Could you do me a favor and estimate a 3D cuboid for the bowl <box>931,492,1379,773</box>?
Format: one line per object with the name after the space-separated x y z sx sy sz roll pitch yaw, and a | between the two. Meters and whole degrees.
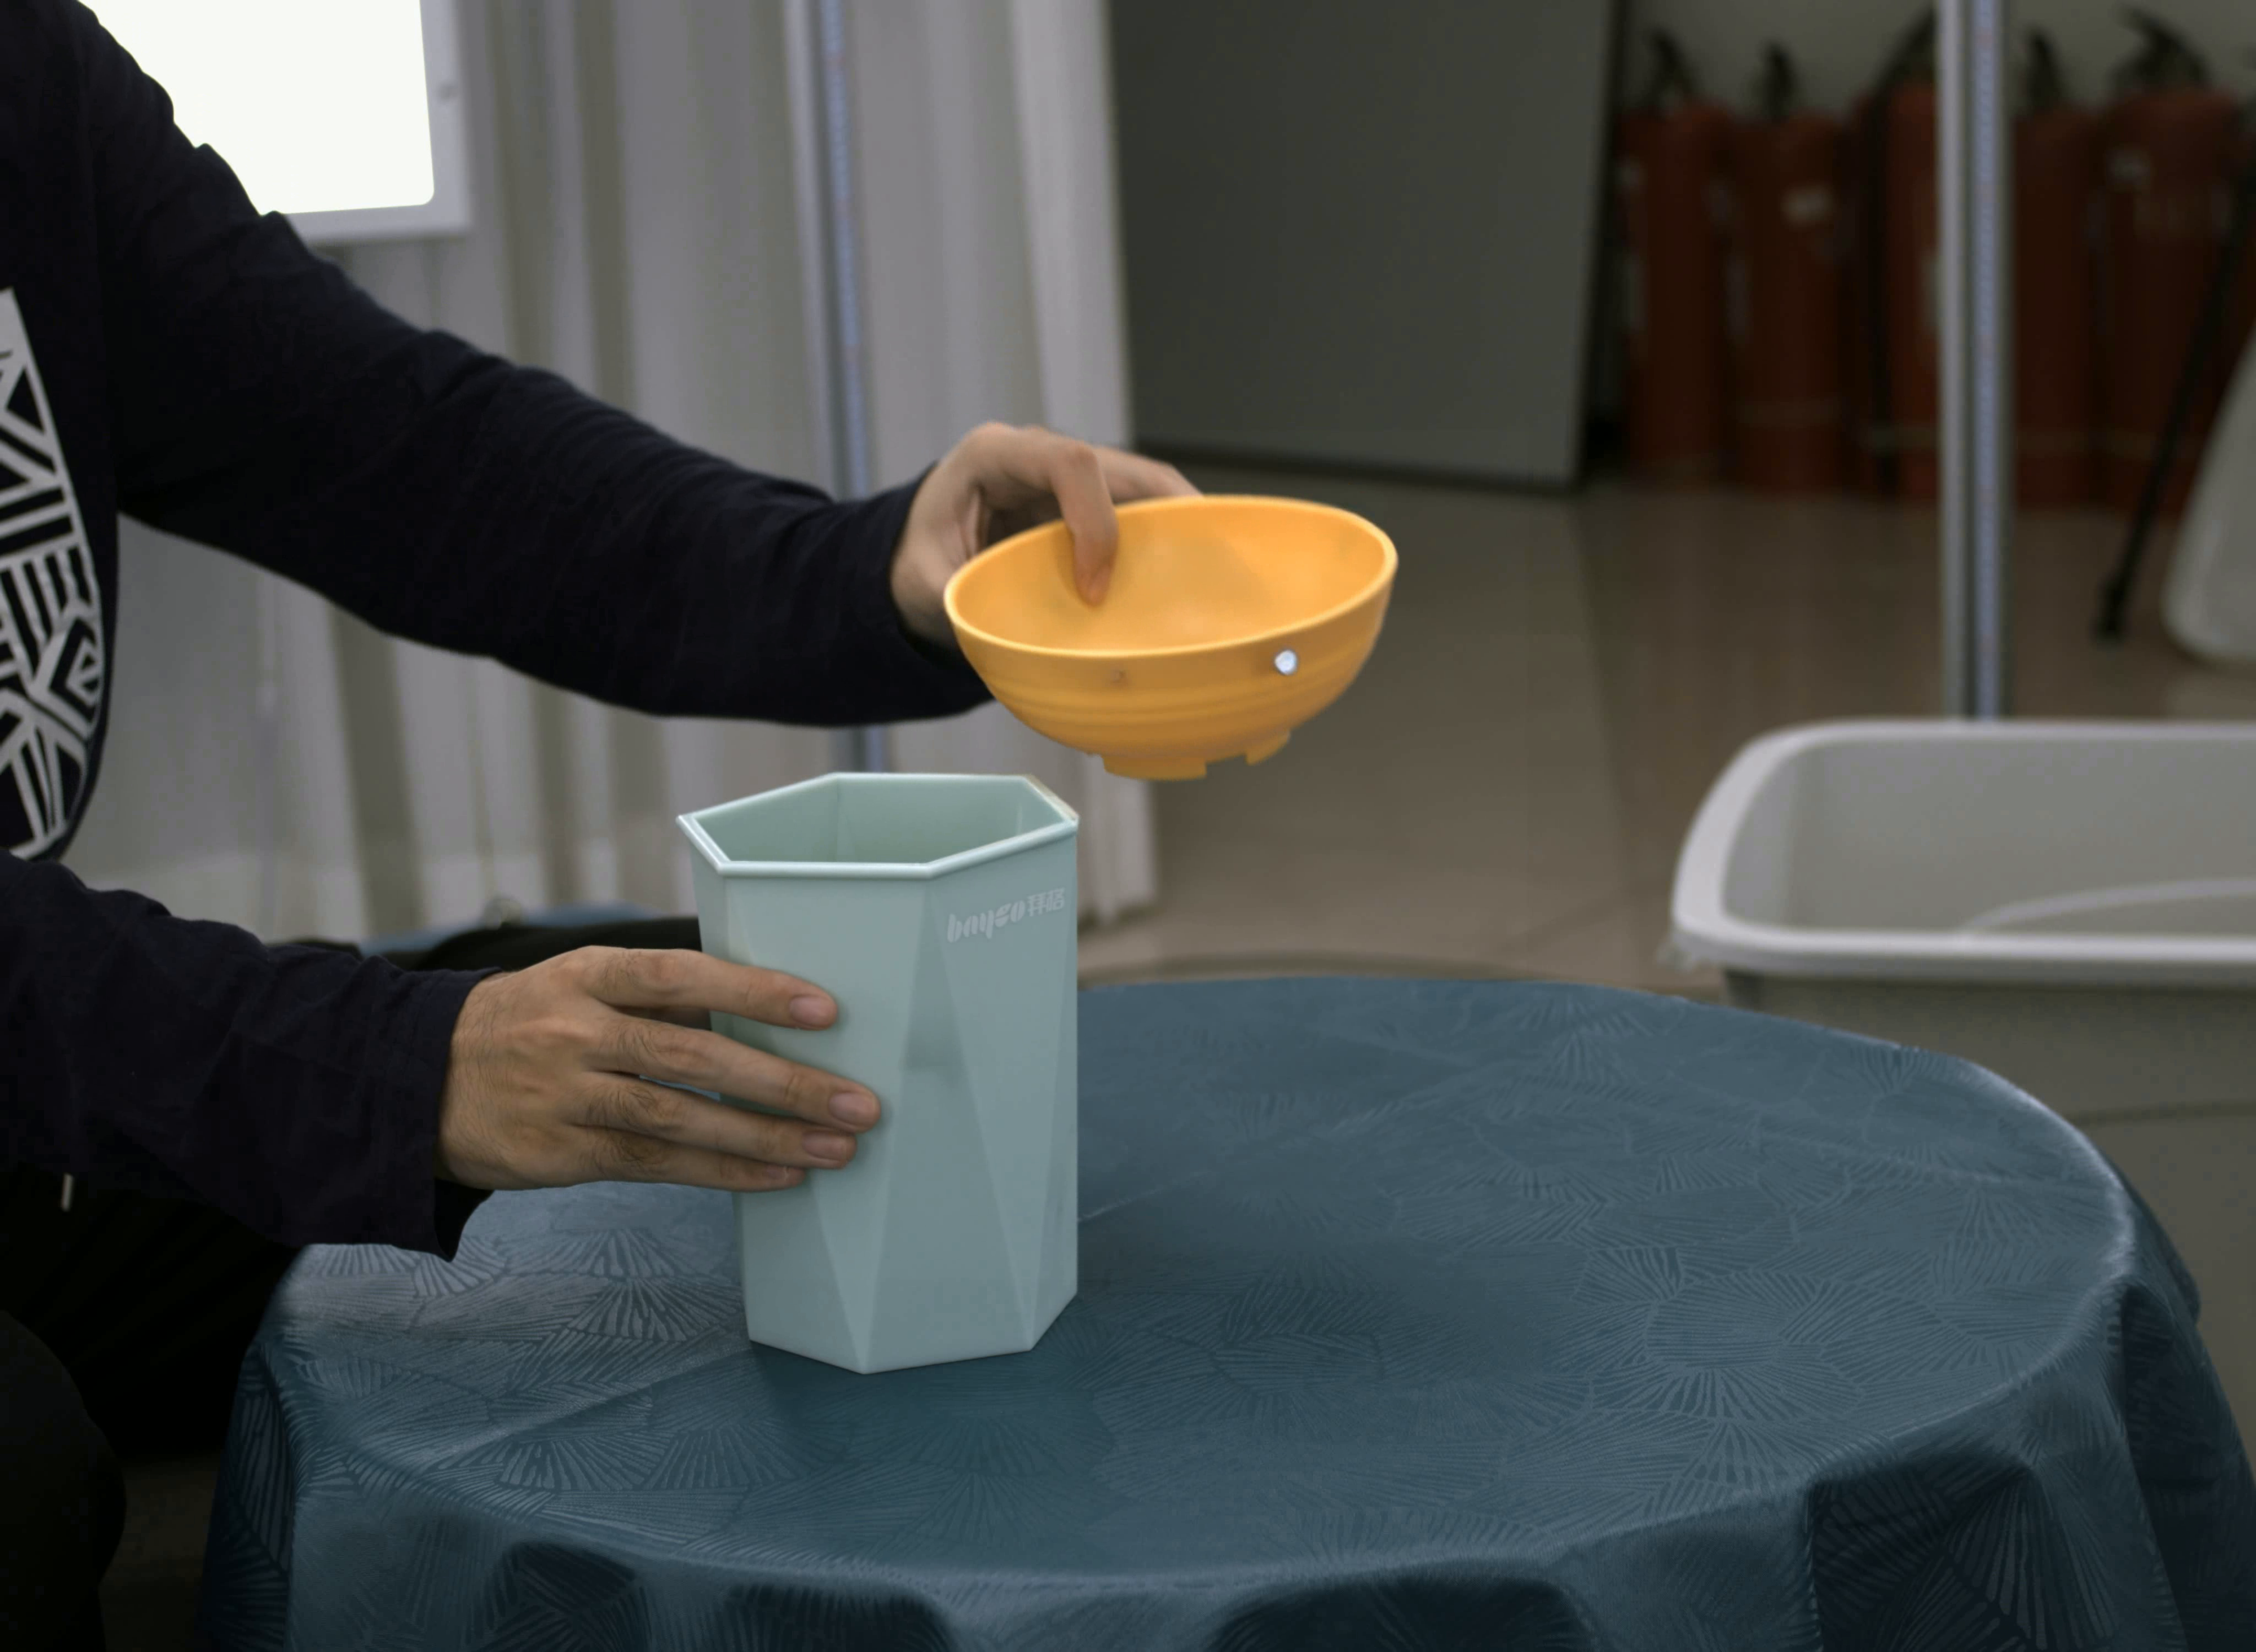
0.012 -0.056 1.712 0.143 0.060 0.146 -9 19 2 | bowl

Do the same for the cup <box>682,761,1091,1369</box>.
-0.069 0.072 1.645 0.116 0.165 0.128 9 17 44 | cup
